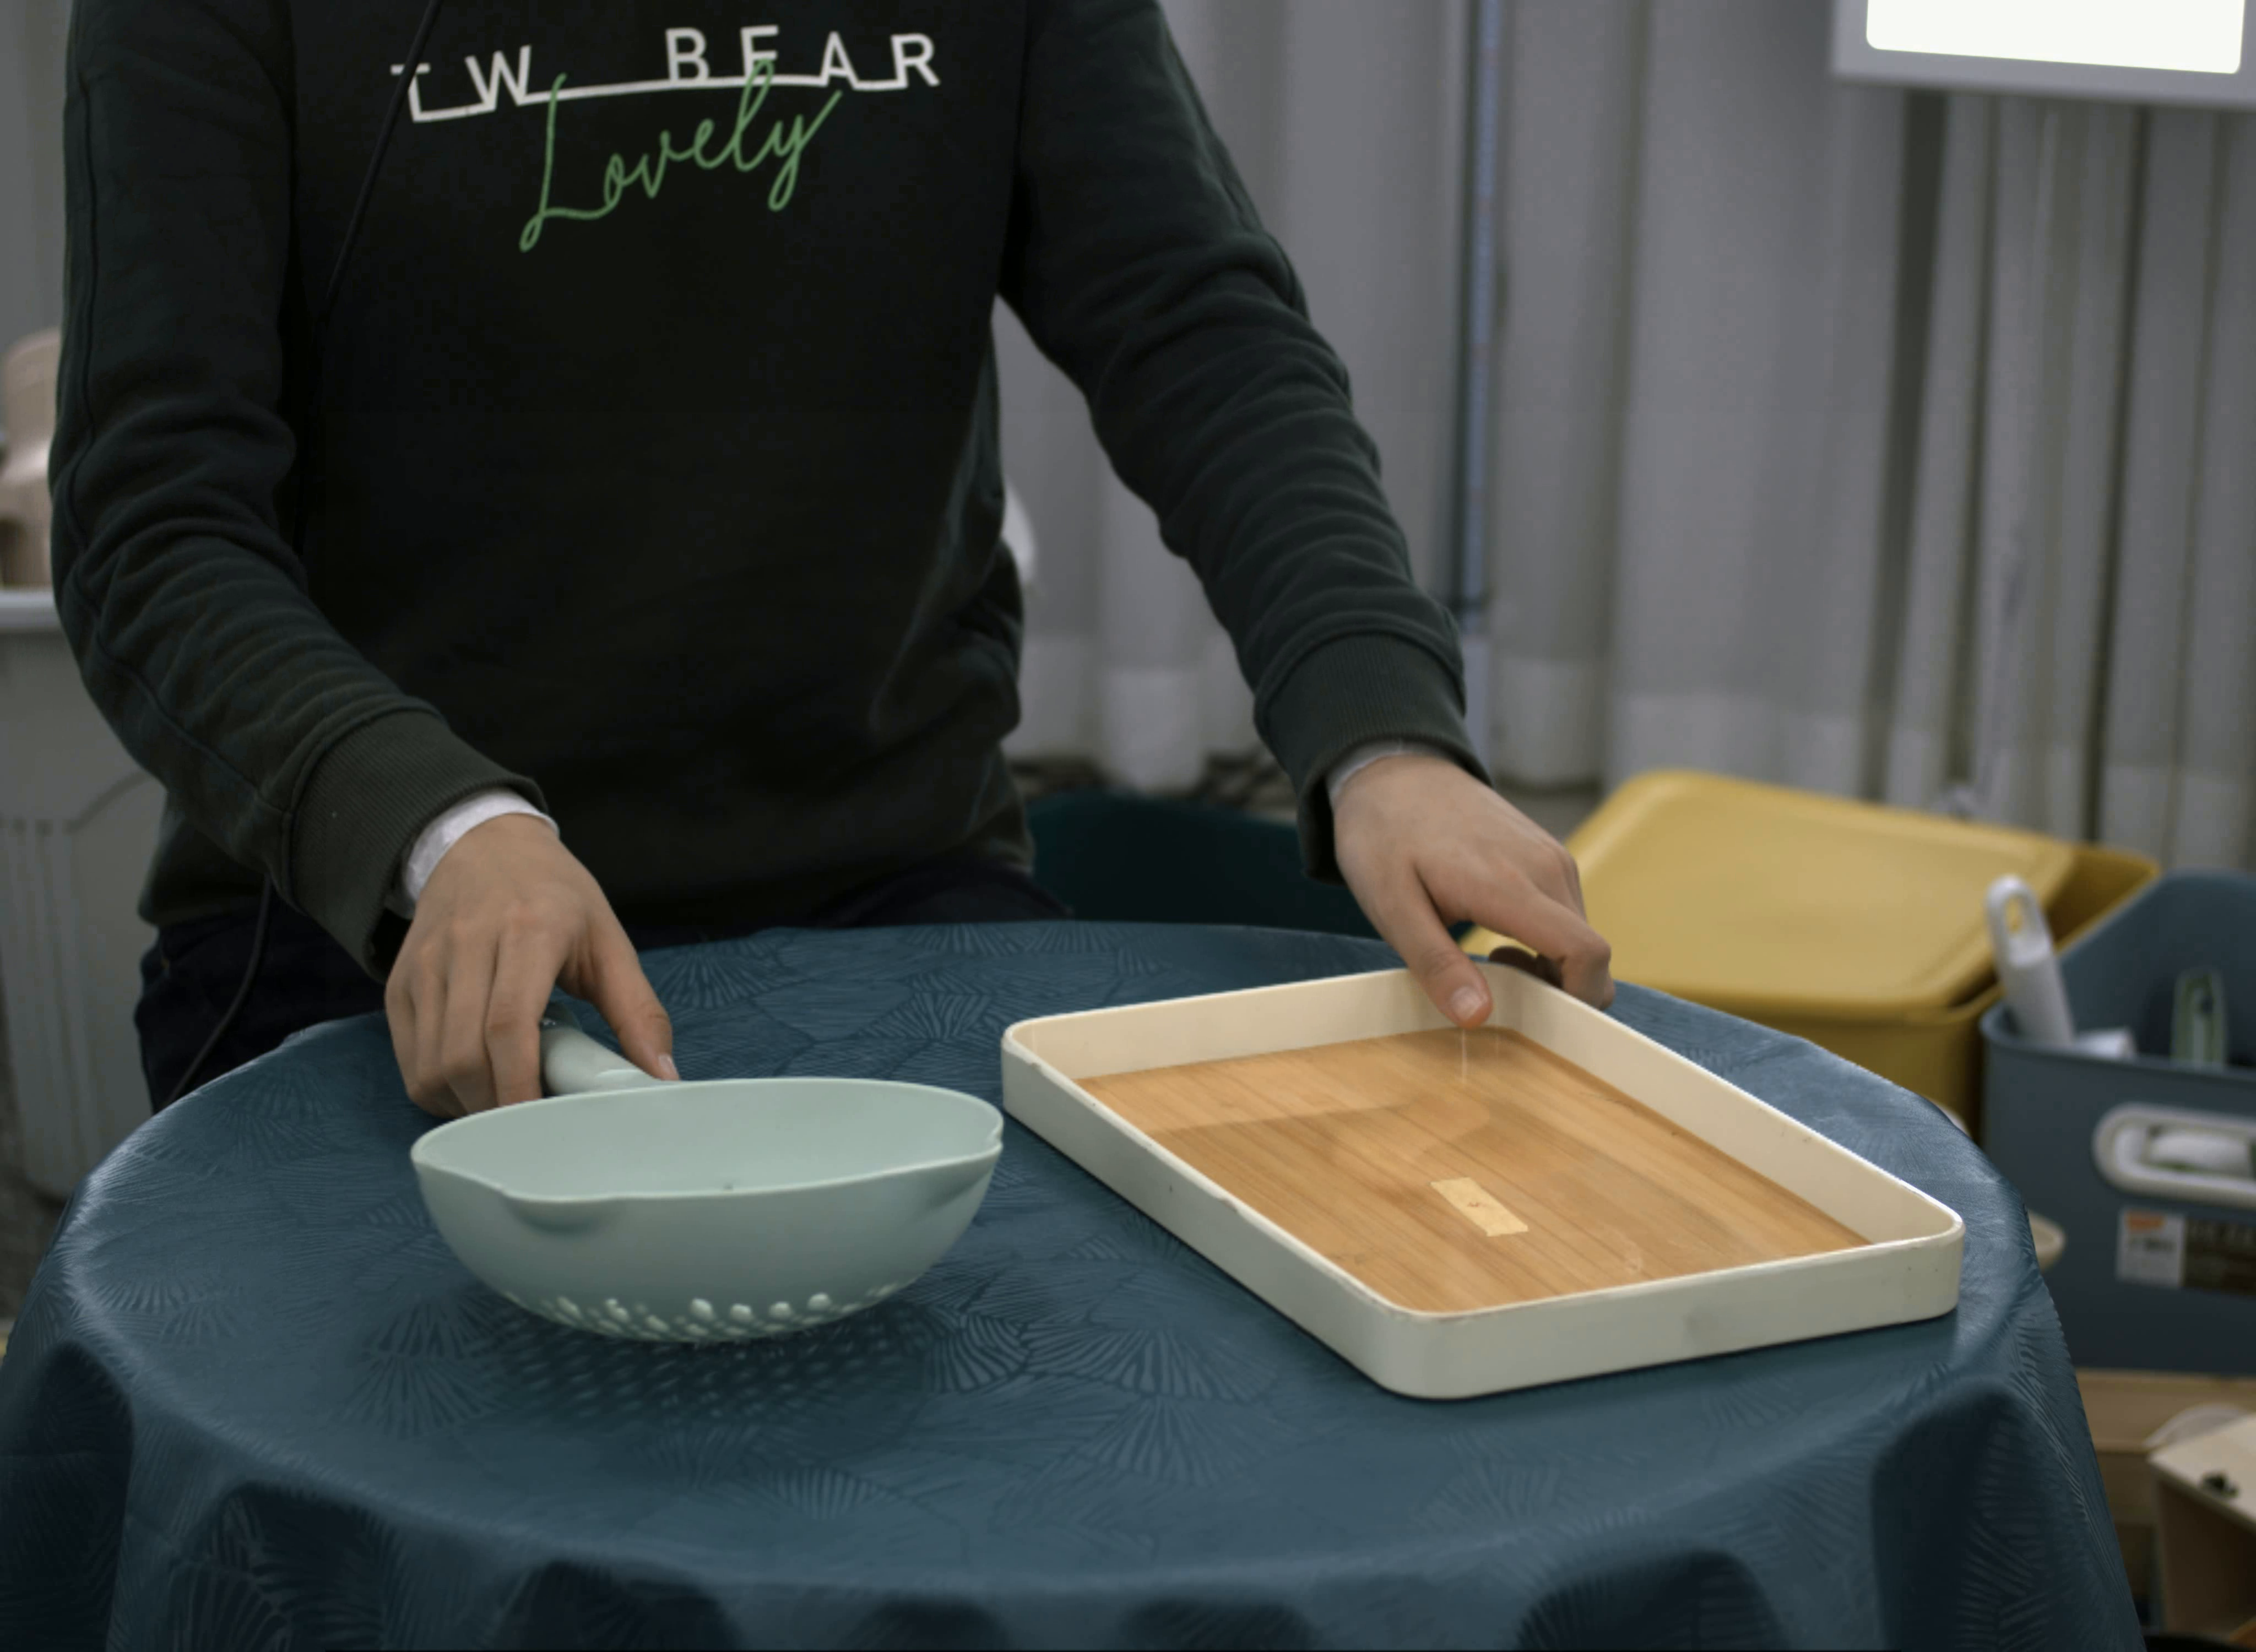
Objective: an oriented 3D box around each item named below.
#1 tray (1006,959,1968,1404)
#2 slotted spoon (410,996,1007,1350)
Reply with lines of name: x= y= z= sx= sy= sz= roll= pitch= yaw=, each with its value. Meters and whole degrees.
tray: x=0.102 y=0.103 z=1.615 sx=0.192 sy=0.027 sz=0.296 roll=-6 pitch=18 yaw=-24
slotted spoon: x=-0.149 y=0.088 z=1.587 sx=0.170 sy=0.076 sz=0.355 roll=-4 pitch=17 yaw=-18
